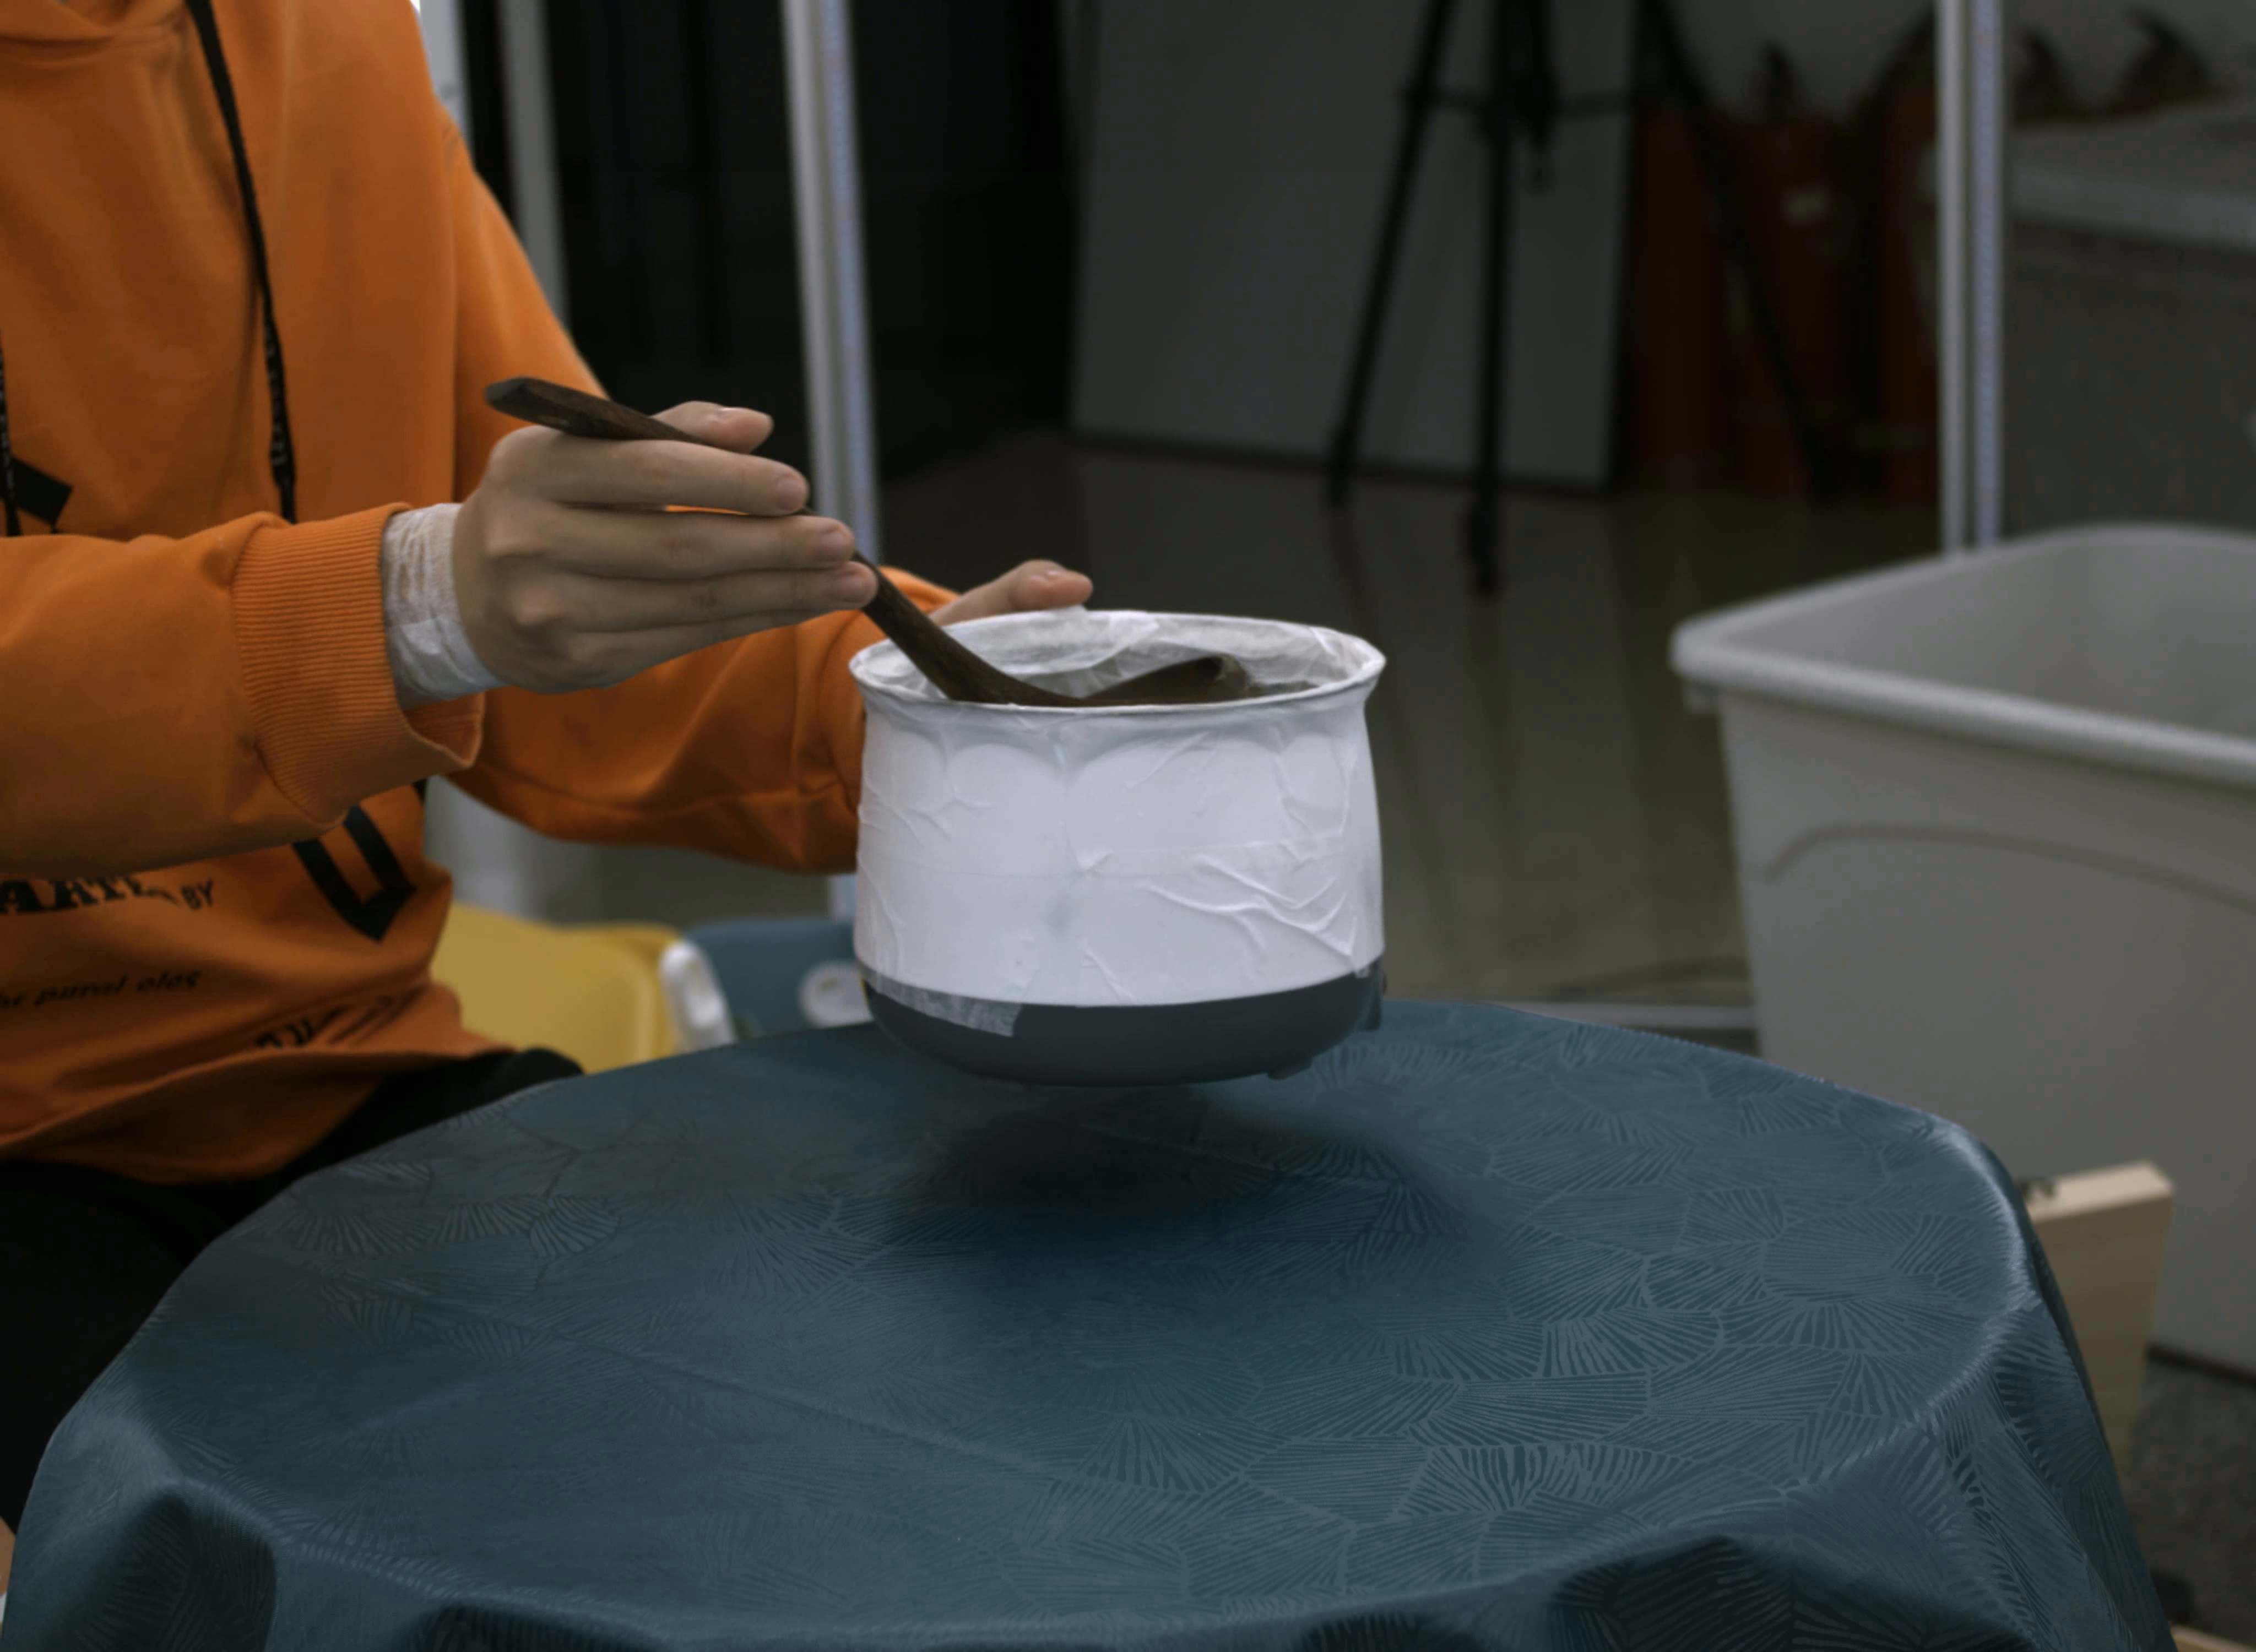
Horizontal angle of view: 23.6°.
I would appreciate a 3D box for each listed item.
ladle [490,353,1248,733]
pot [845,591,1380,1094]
[{"bbox_3d":[-0.076,-0.096,1.692,0.270,0.071,0.077,35,-27,-25],"label":"ladle"},{"bbox_3d":[-0.010,0.001,1.801,0.175,0.138,0.235,-3,11,-11],"label":"pot"}]
